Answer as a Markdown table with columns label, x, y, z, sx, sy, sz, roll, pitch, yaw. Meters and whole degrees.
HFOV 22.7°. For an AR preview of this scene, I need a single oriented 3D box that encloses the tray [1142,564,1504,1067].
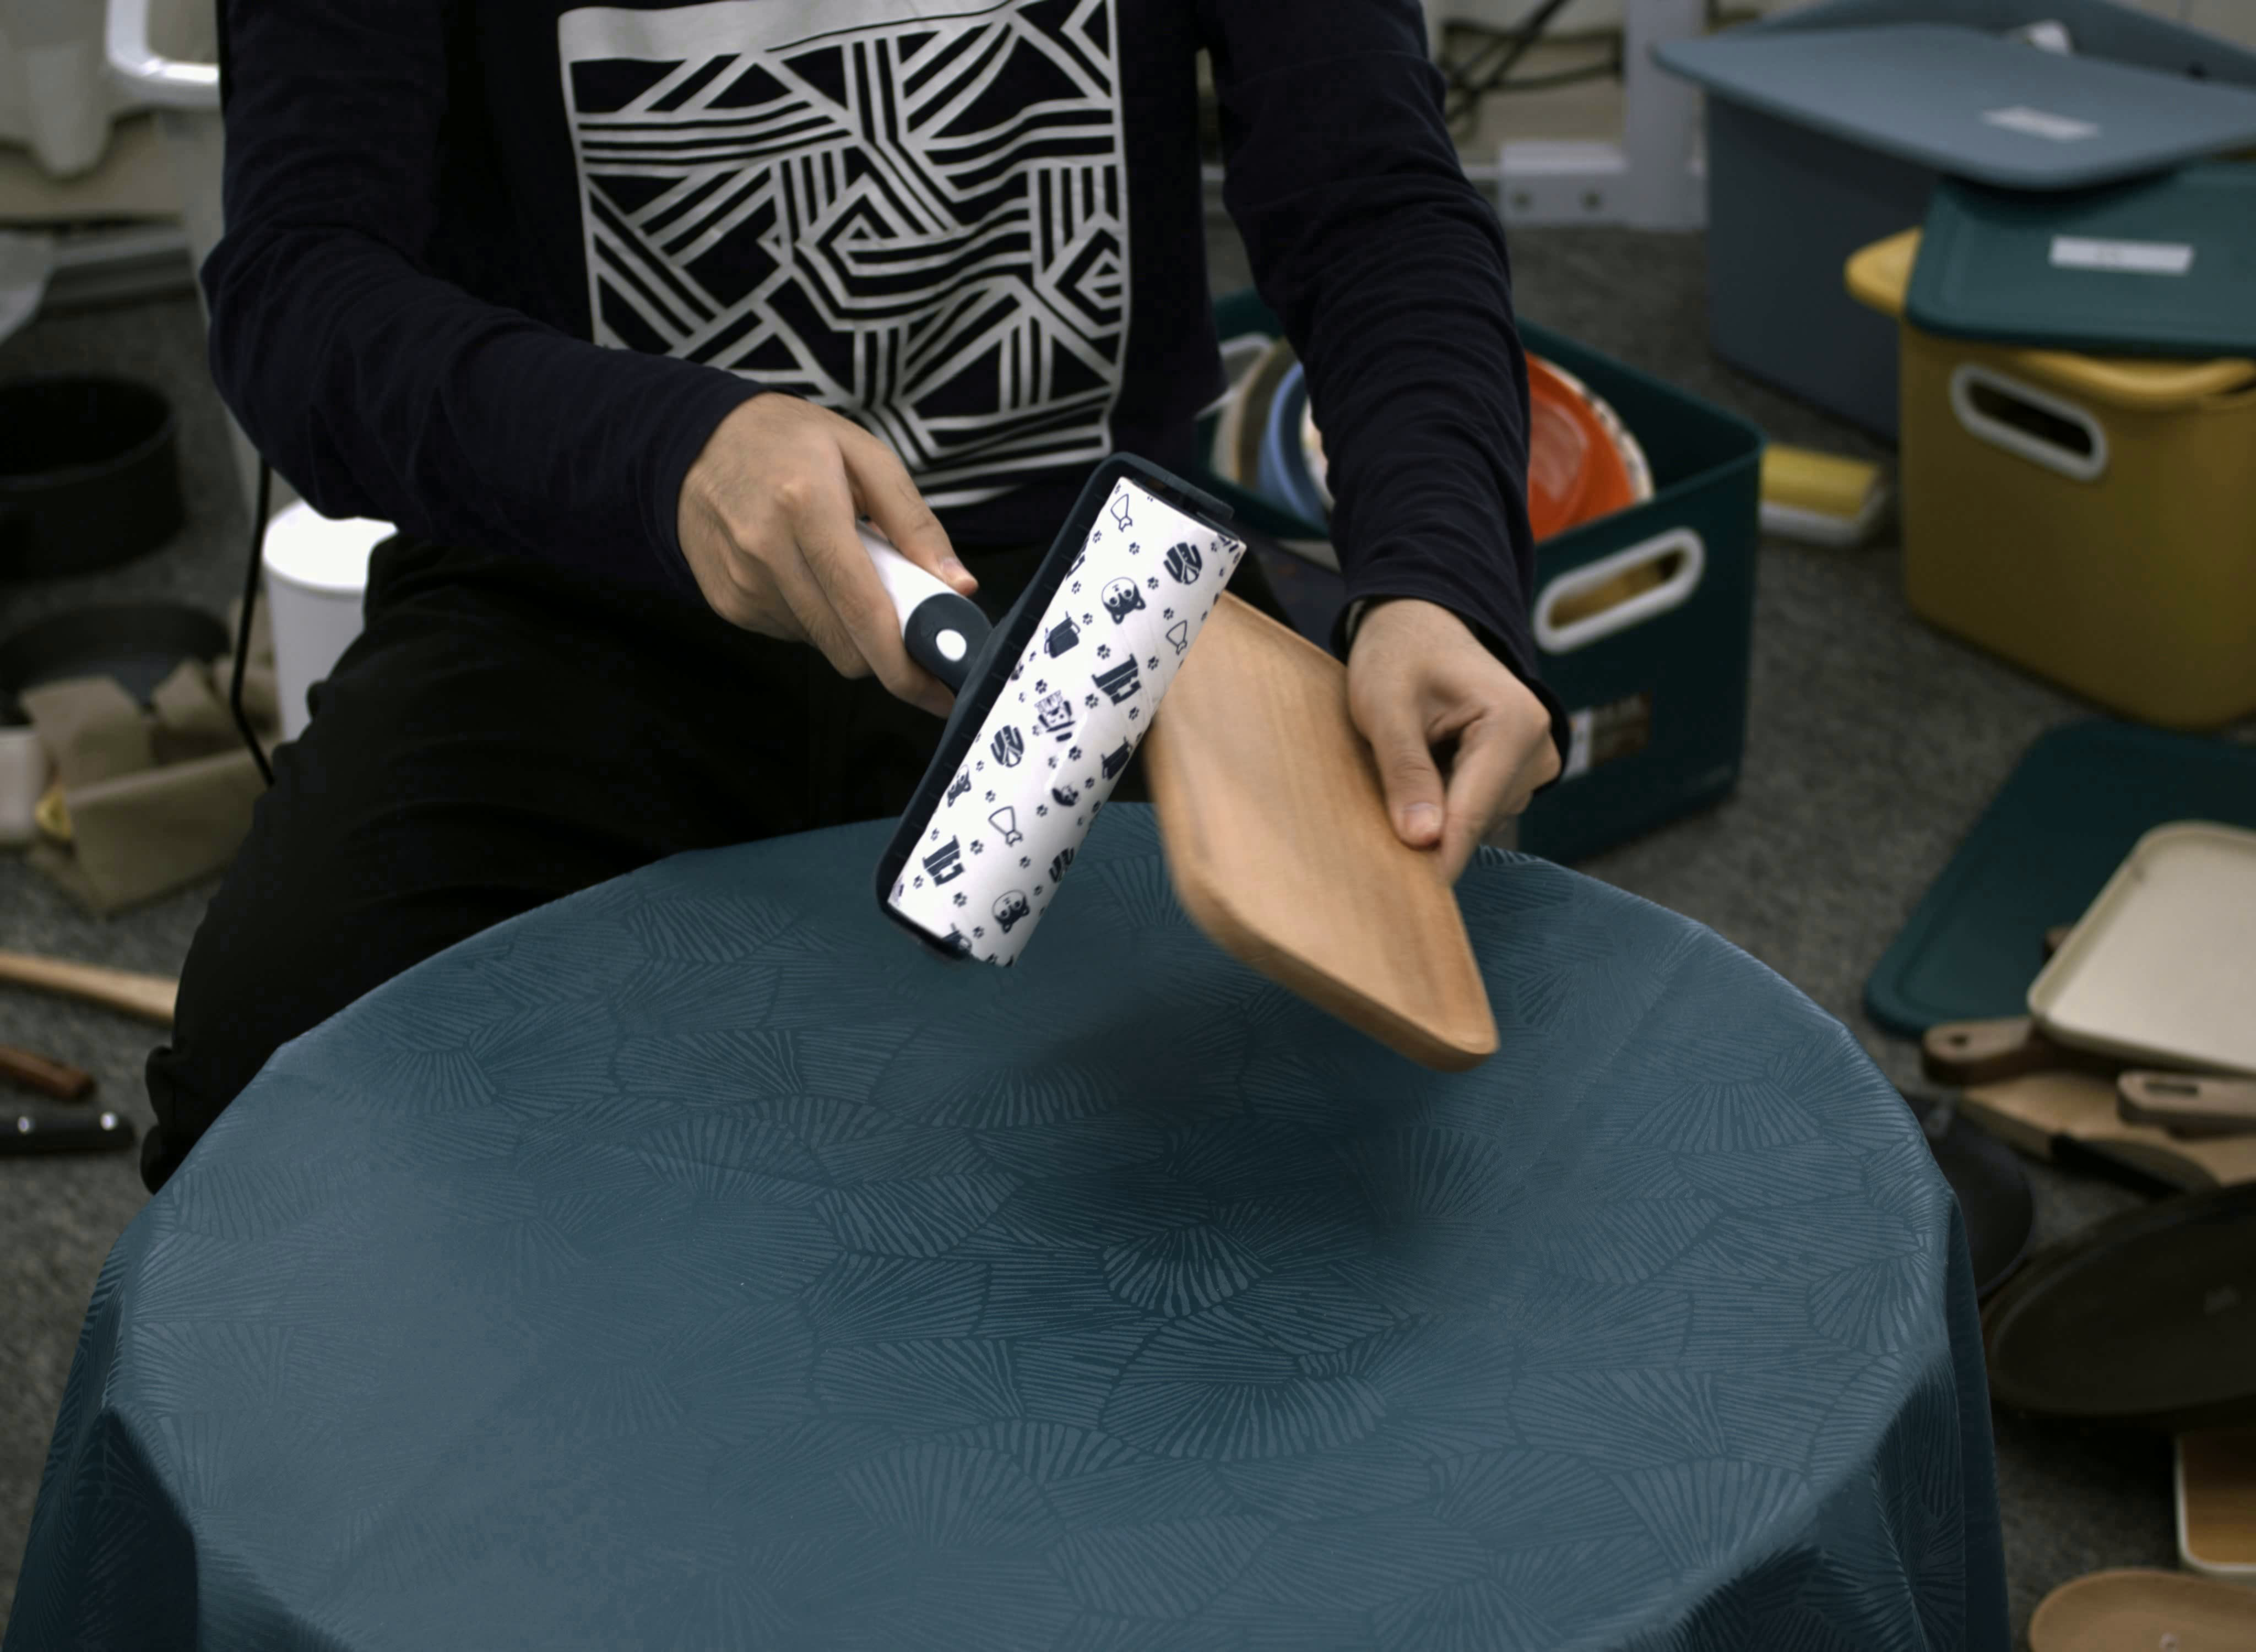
| label | x | y | z | sx | sy | sz | roll | pitch | yaw |
| --- | --- | --- | --- | --- | --- | --- | --- | --- | --- |
| tray | 0.057 | -0.010 | 1.878 | 0.130 | 0.022 | 0.254 | 36 | 19 | -23 |

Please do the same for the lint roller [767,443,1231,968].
| label | x | y | z | sx | sy | sz | roll | pitch | yaw |
| --- | --- | --- | --- | --- | --- | --- | --- | --- | --- |
| lint roller | -0.071 | -0.071 | 1.926 | 0.050 | 0.176 | 0.248 | 25 | 6 | -36 |
